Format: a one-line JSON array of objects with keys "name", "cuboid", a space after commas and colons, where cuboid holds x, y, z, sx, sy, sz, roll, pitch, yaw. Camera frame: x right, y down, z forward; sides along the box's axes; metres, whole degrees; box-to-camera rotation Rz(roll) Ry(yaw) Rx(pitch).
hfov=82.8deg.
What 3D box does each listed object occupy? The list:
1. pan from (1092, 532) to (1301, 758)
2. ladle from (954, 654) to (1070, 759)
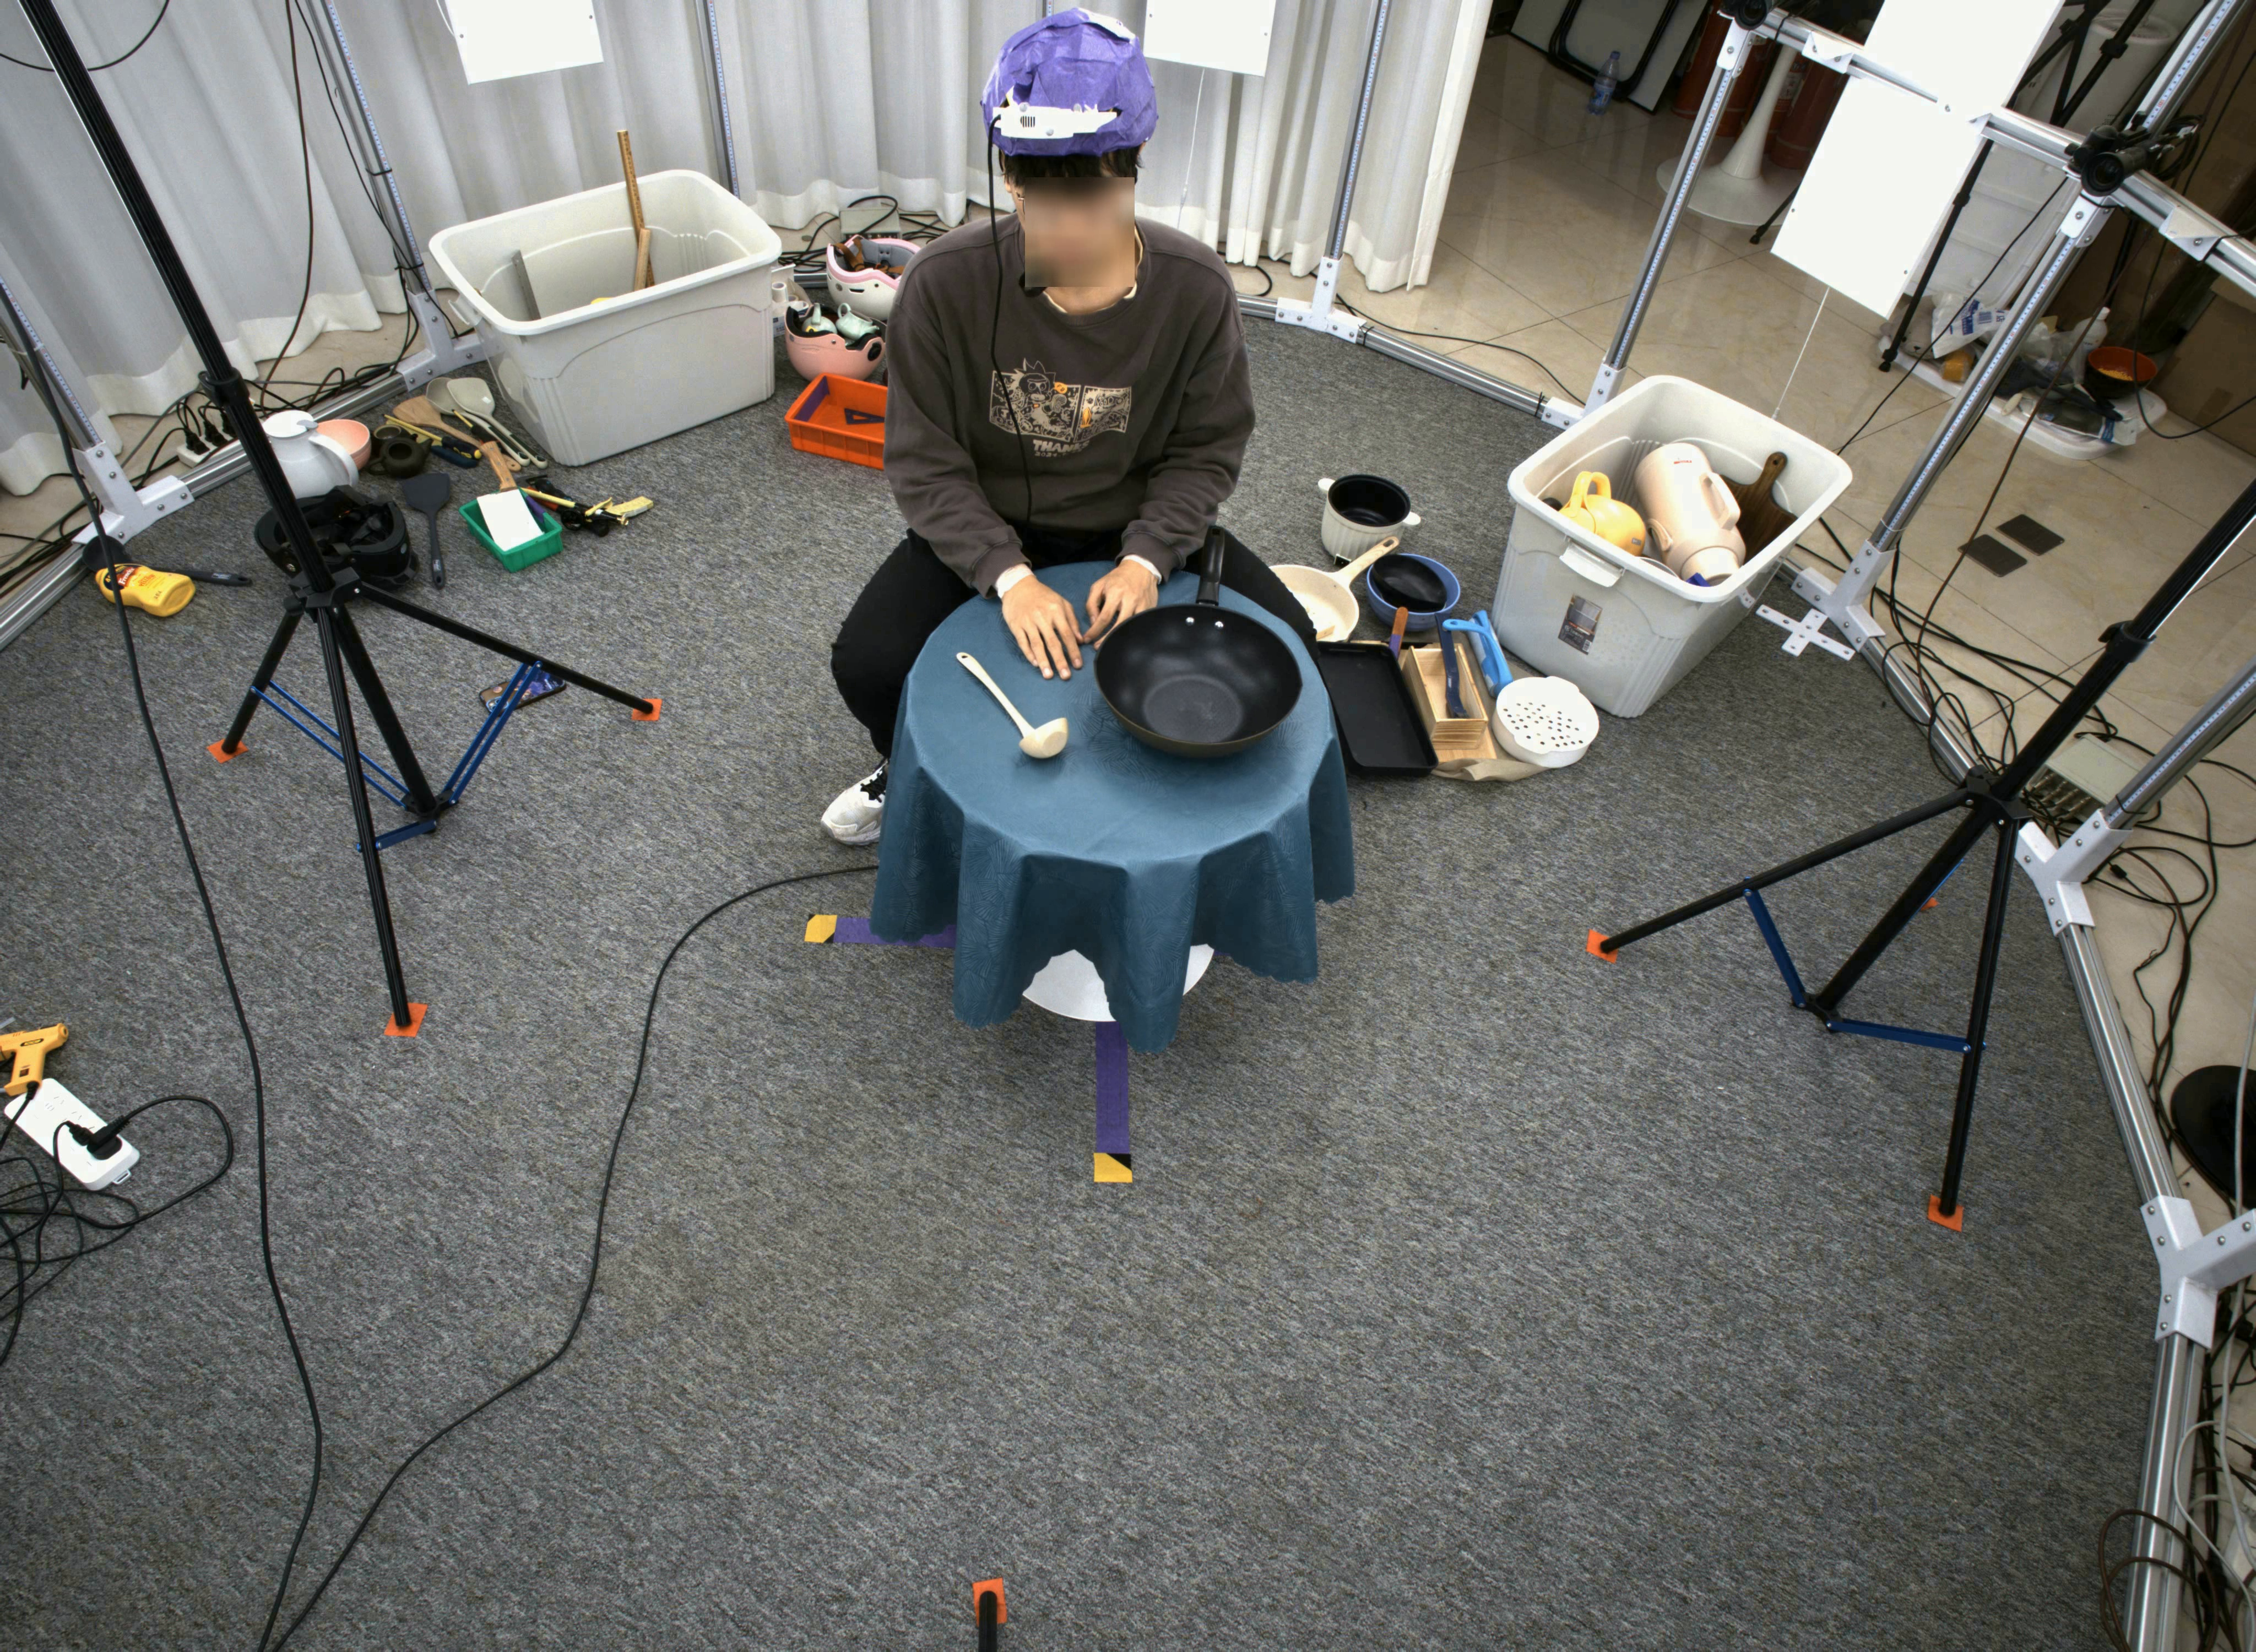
[{"name": "pan", "cuboid": [0.104, -0.256, 1.842, 0.288, 0.085, 0.474, 7, 48, 3]}, {"name": "ladle", "cuboid": [-0.172, -0.187, 1.771, 0.072, 0.071, 0.259, -31, 57, -20]}]
